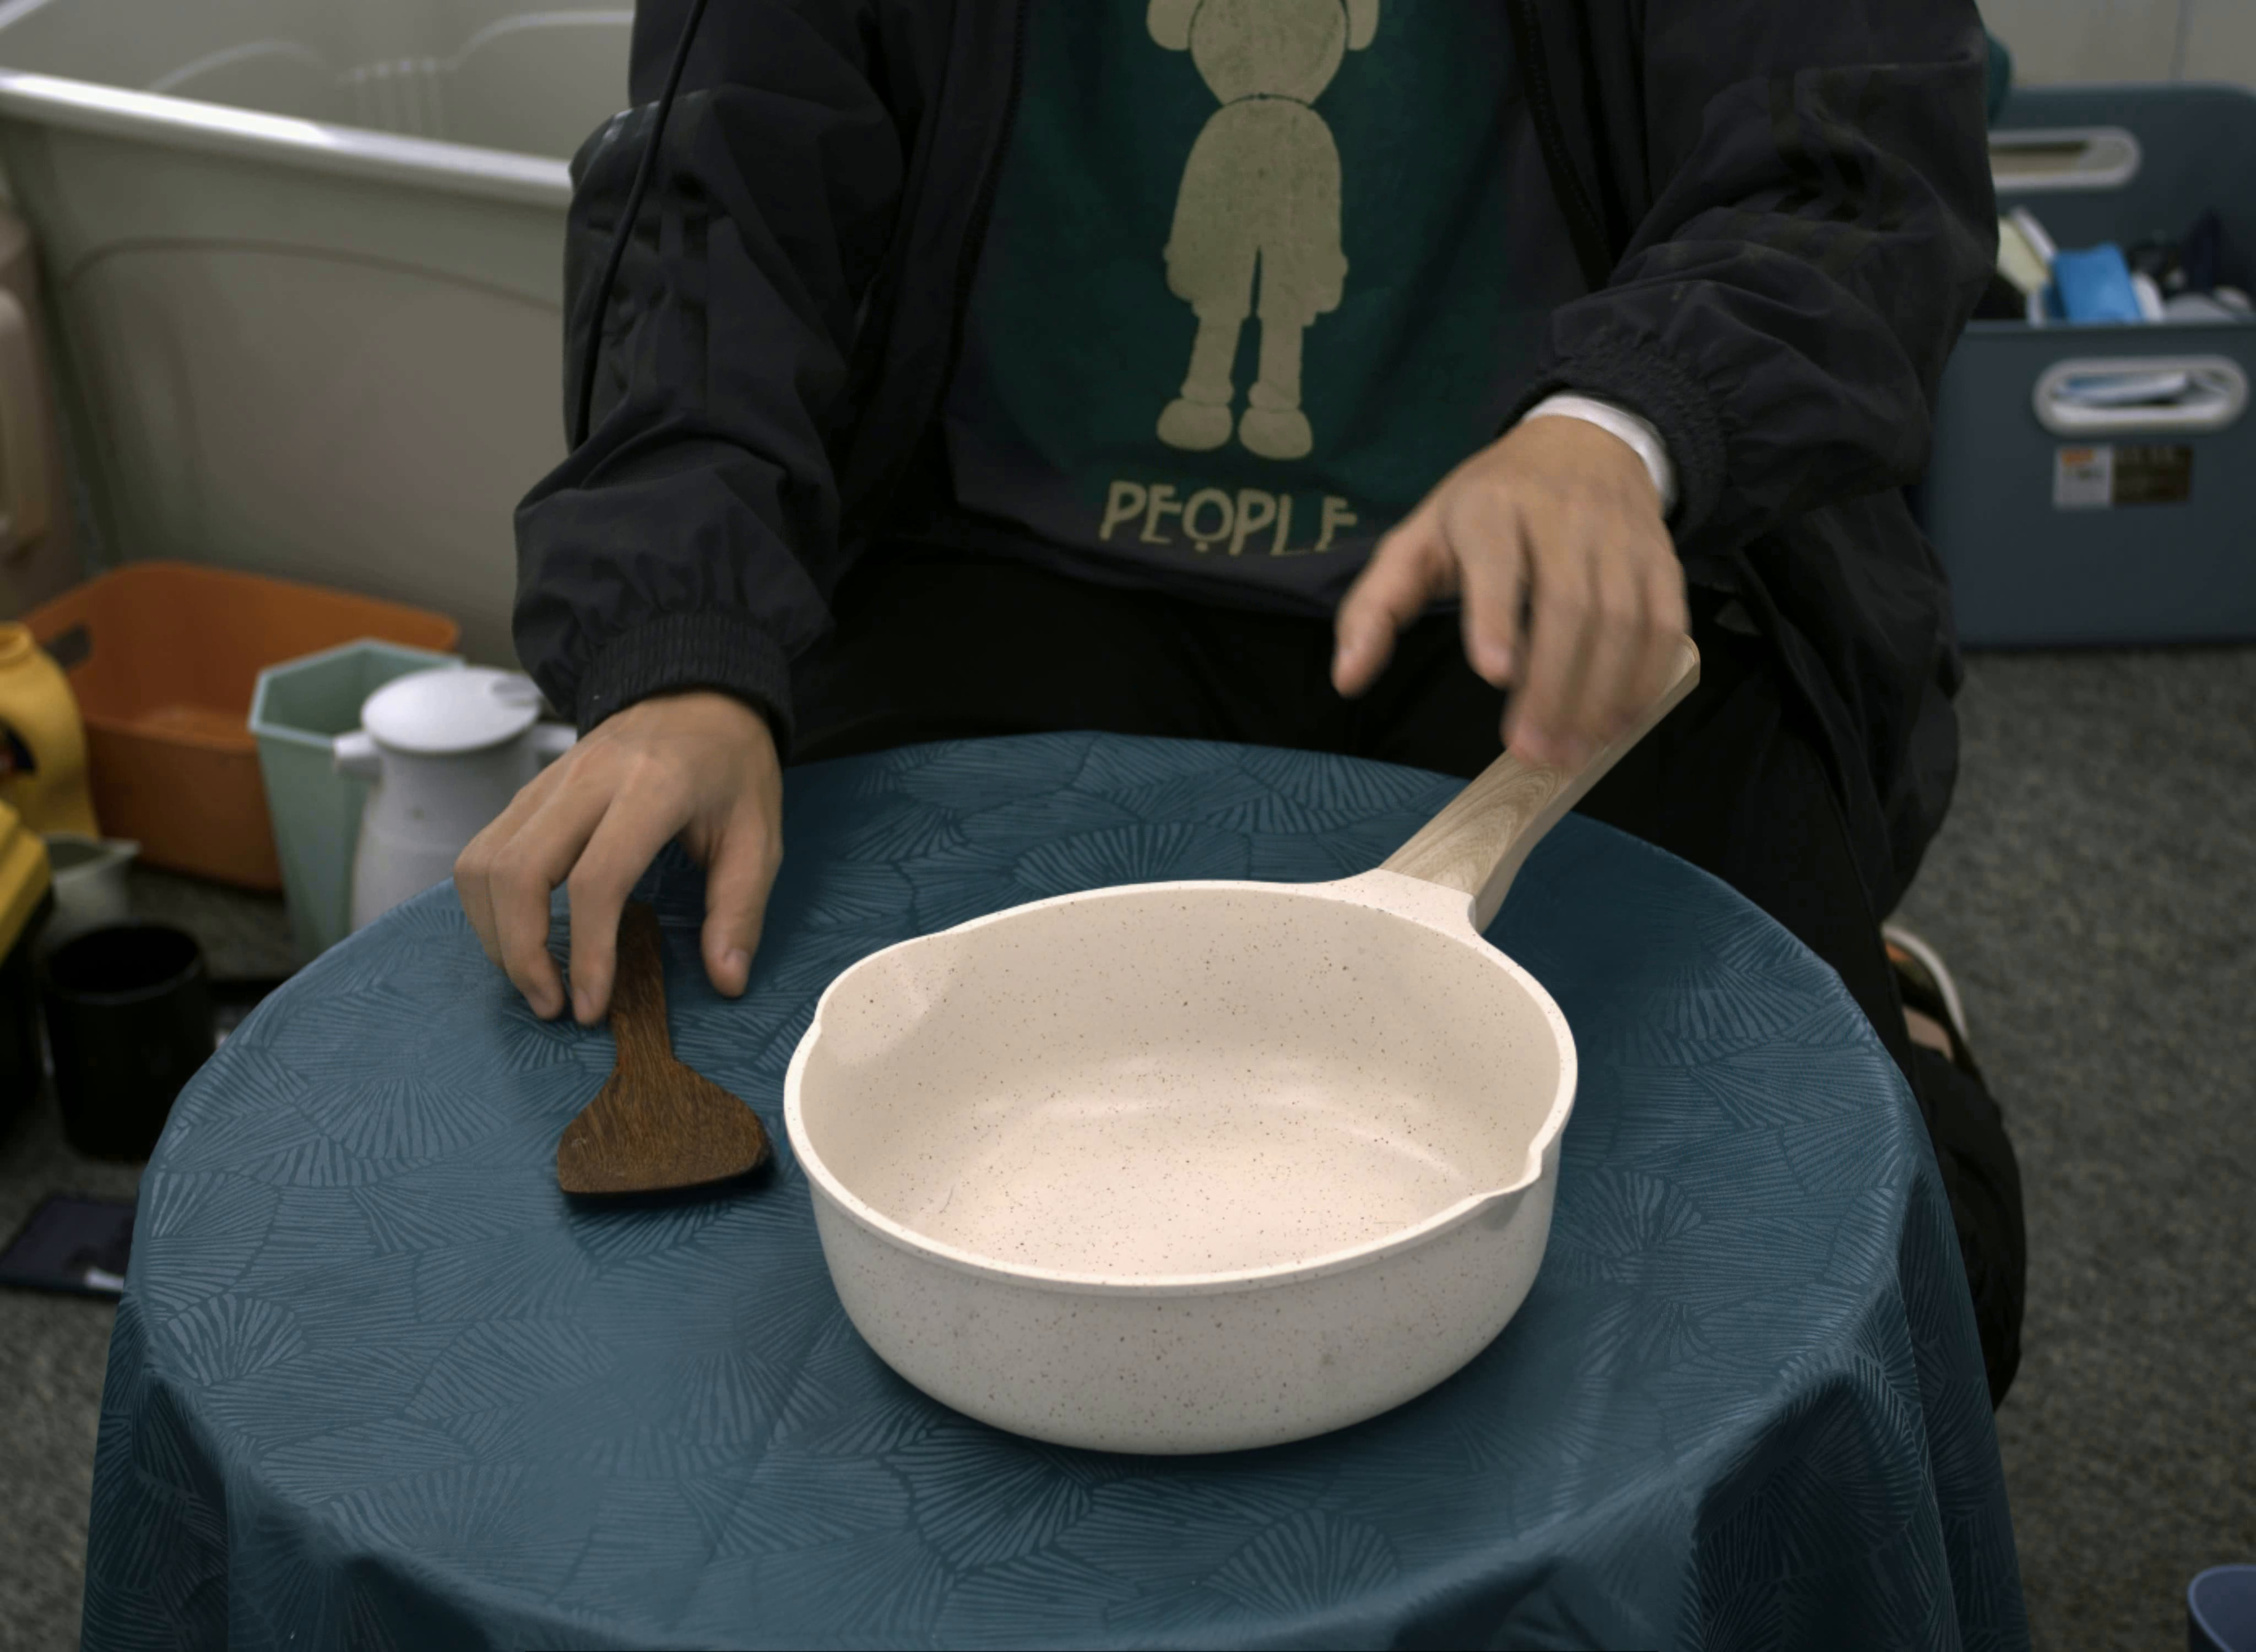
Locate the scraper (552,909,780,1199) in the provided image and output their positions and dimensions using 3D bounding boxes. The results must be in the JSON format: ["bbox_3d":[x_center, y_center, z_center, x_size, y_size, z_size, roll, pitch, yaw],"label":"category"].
[{"bbox_3d":[-0.168,0.078,1.951,0.075,0.011,0.214,-5,26,-8],"label":"scraper"}]

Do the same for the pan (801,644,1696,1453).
[{"bbox_3d":[0.075,0.069,1.848,0.262,0.101,0.441,13,31,32],"label":"pan"}]
